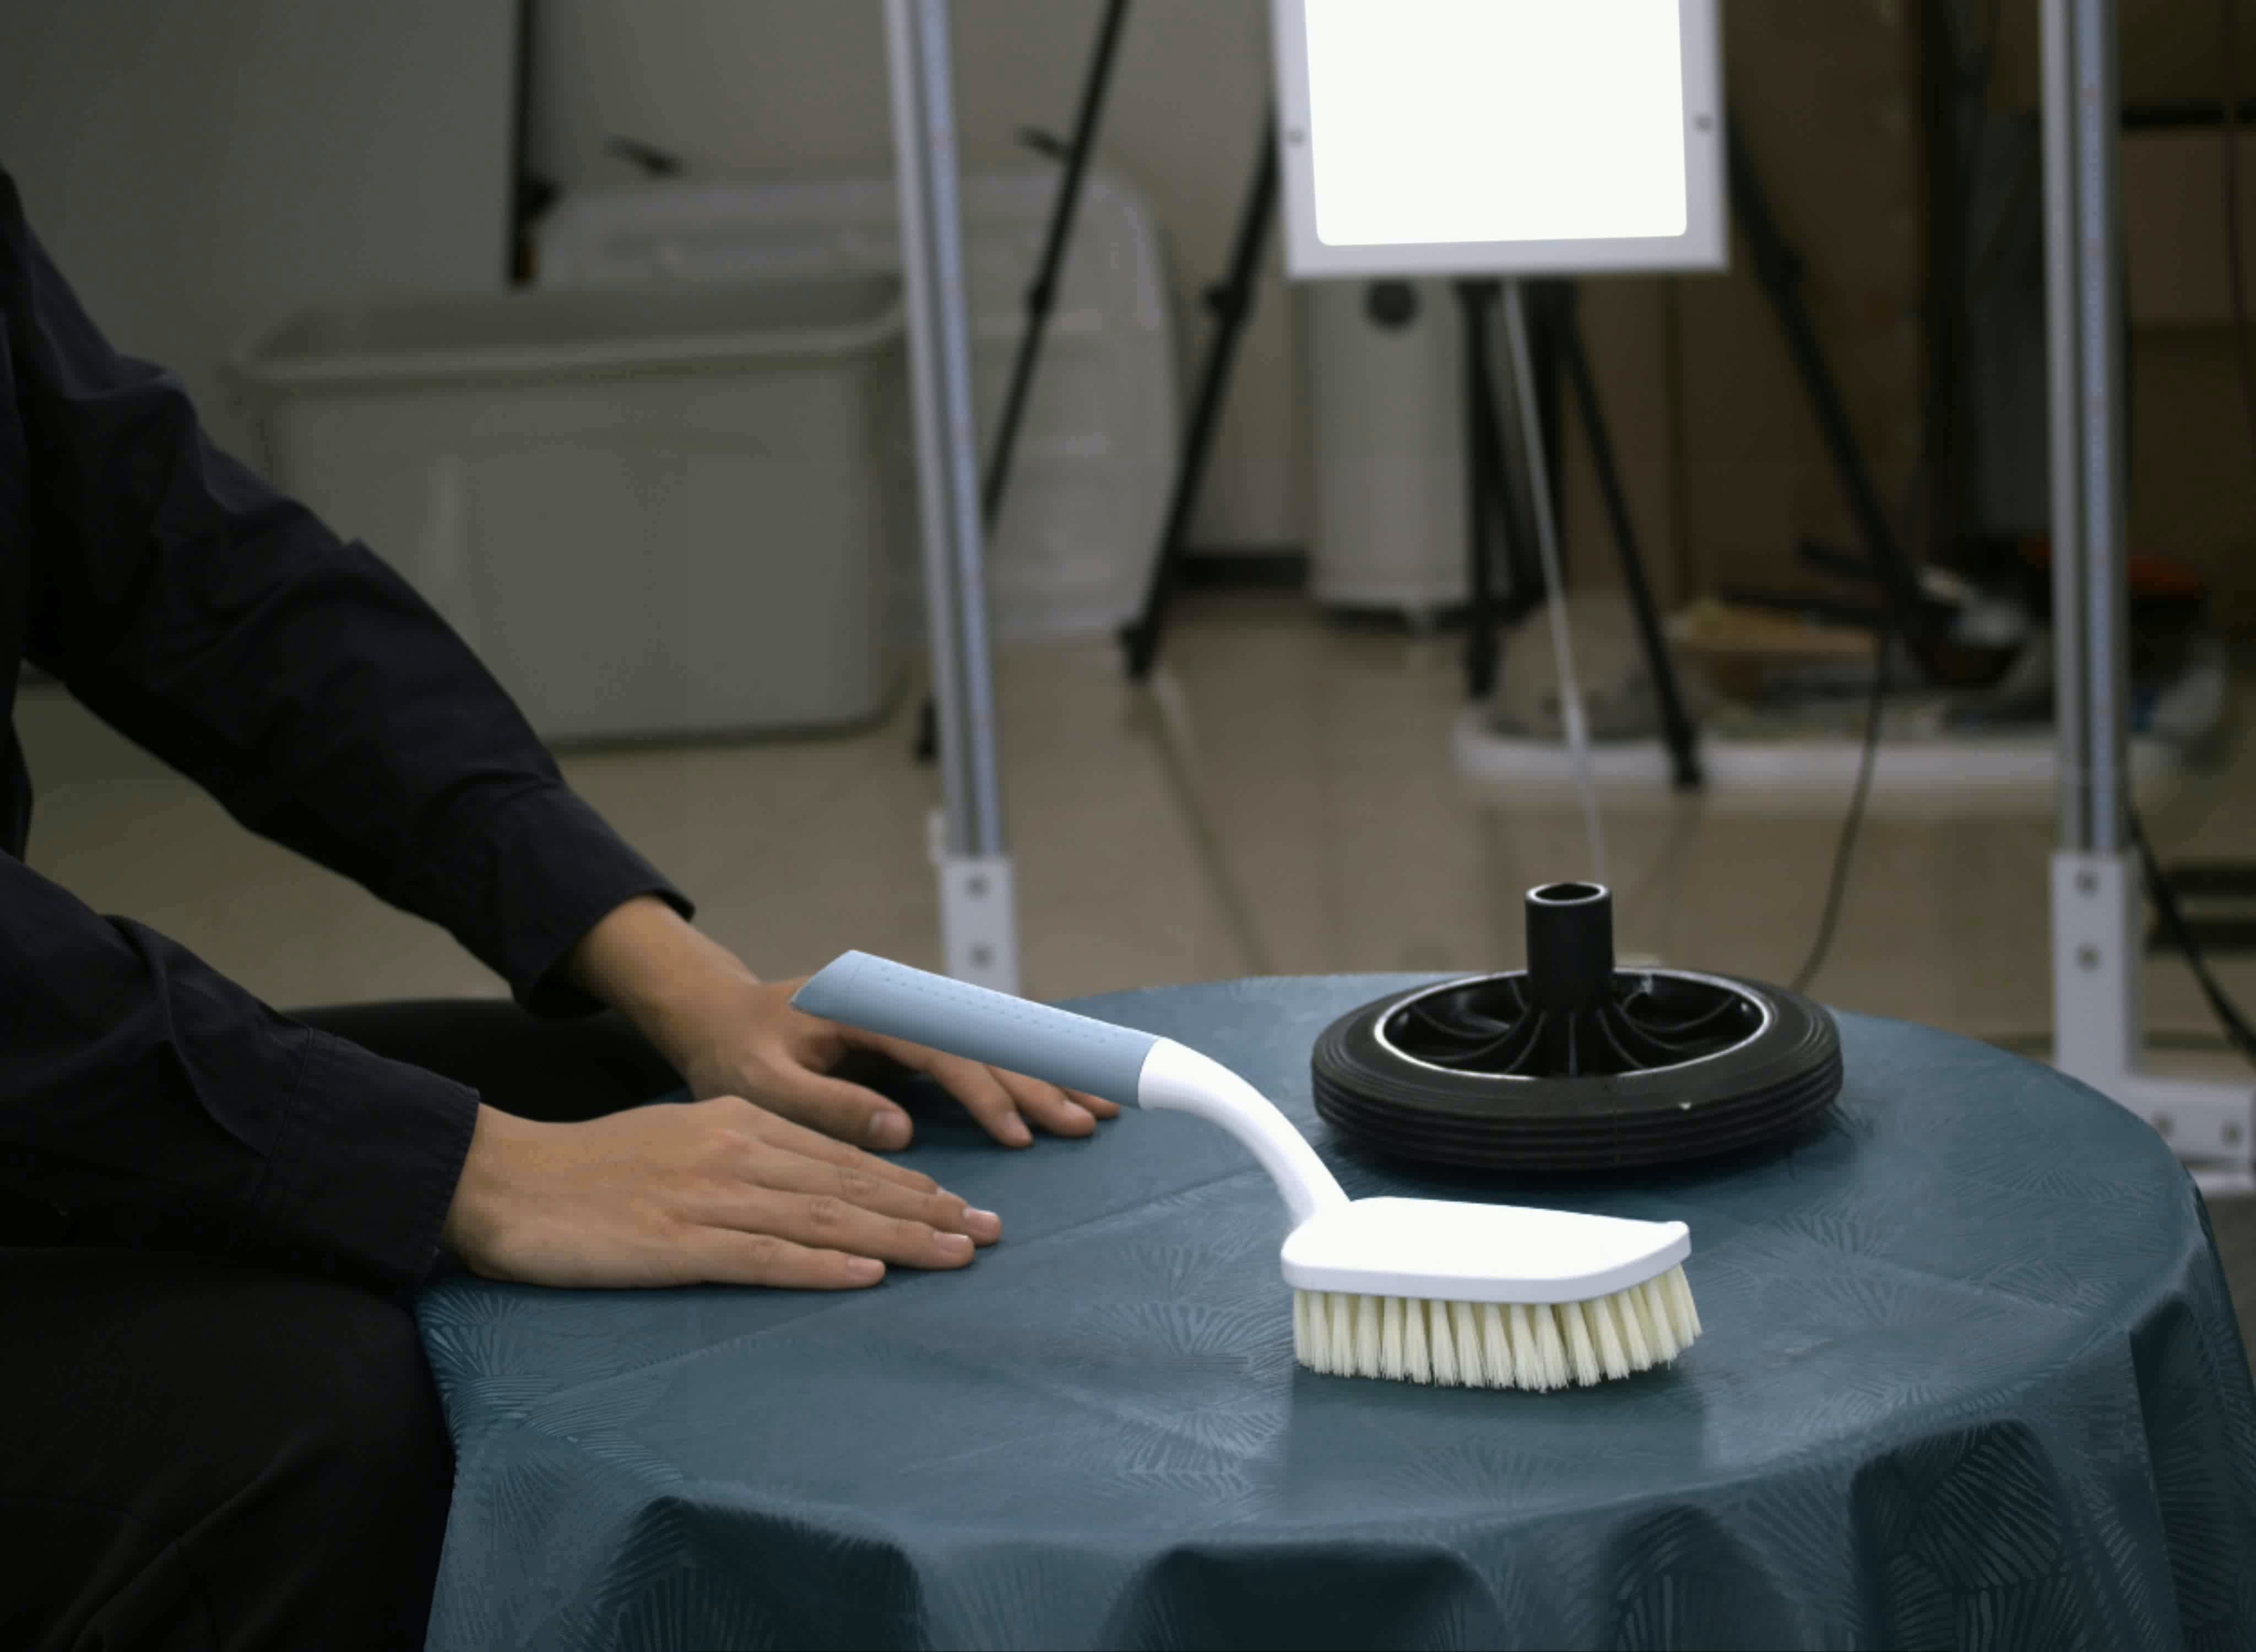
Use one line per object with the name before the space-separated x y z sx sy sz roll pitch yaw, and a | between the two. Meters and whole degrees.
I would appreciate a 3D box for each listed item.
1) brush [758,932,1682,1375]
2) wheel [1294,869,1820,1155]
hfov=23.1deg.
brush | 0.023 0.117 1.748 0.330 0.084 0.082 15 -16 25
wheel | 0.150 0.057 1.947 0.185 0.079 0.191 -16 18 -32
